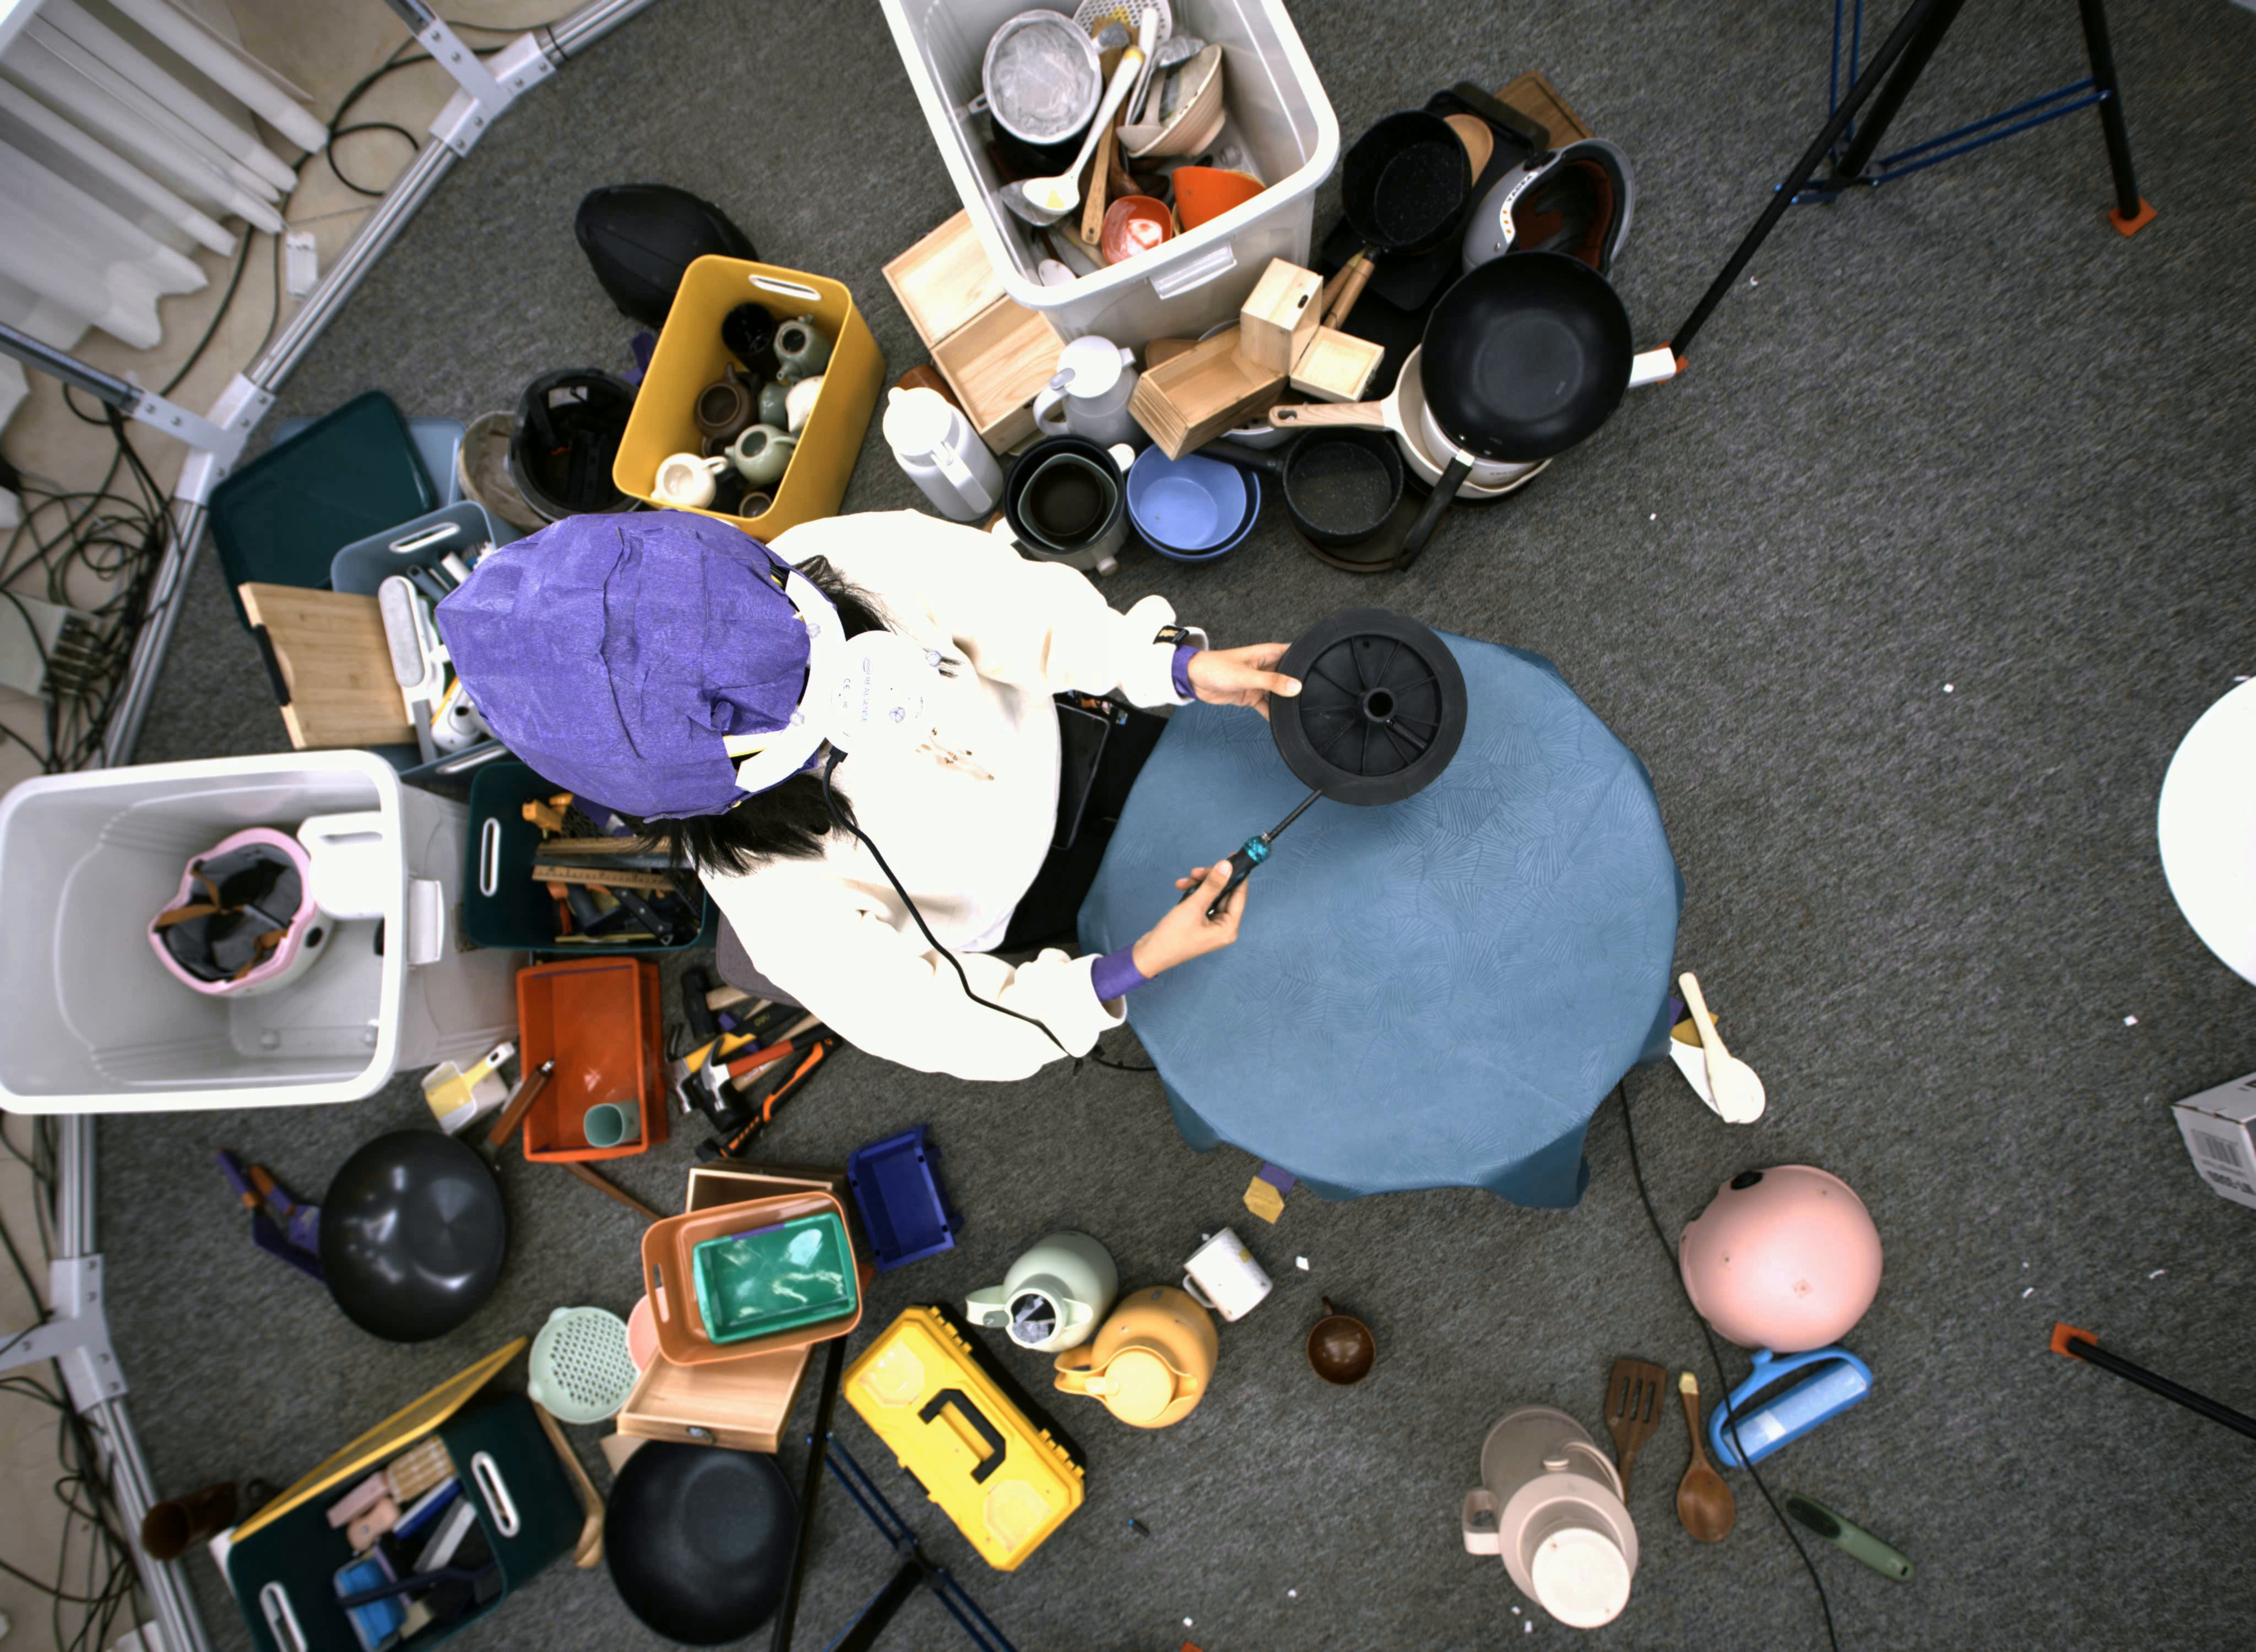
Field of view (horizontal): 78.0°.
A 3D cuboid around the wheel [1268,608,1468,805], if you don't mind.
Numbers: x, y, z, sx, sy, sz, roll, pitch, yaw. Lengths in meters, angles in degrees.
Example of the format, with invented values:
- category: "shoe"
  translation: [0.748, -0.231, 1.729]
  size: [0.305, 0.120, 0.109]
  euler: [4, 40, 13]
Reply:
- category: "wheel"
  translation: [0.229, -0.113, 1.283]
  size: [0.190, 0.079, 0.188]
  euler: [12, 95, -3]

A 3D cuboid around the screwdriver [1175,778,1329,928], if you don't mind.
- category: "screwdriver"
  translation: [0.117, 0.022, 1.288]
  size: [0.191, 0.033, 0.033]
  euler: [-45, 79, 9]
